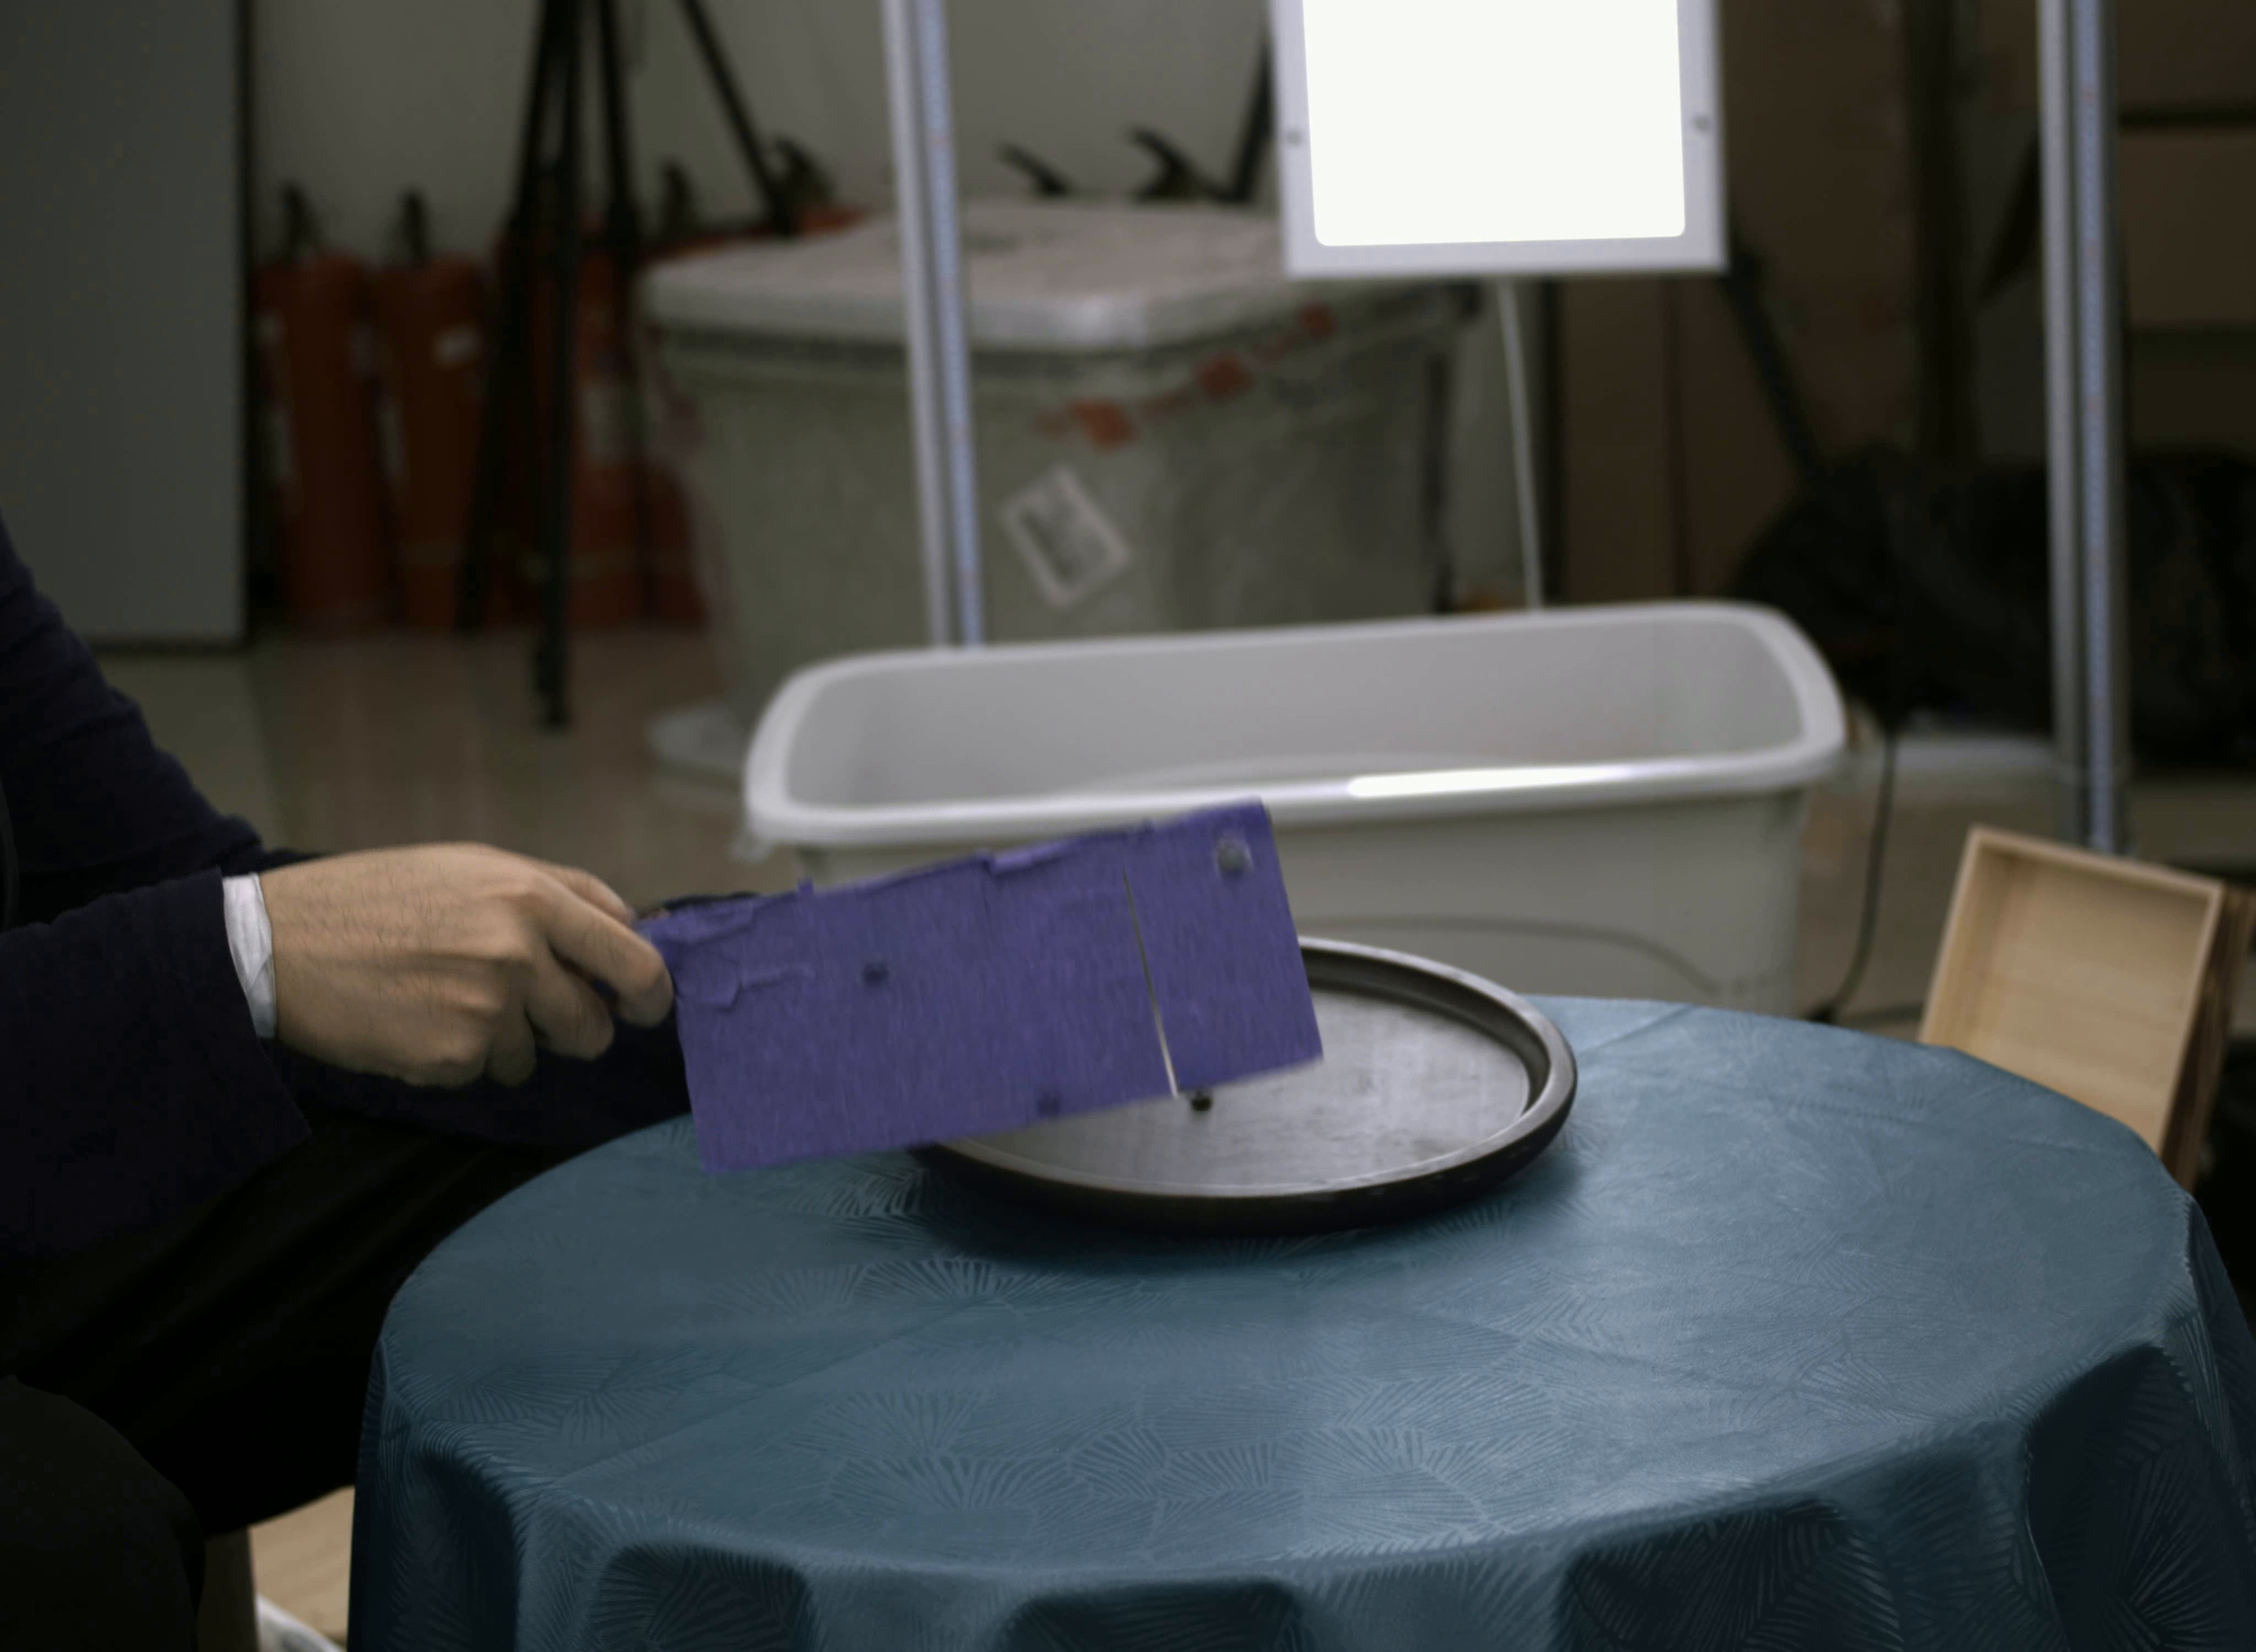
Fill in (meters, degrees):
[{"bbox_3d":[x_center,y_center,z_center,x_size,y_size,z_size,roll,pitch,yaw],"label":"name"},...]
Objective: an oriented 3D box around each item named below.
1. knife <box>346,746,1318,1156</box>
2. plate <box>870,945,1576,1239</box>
[{"bbox_3d":[-0.097,0.055,1.813,0.315,0.104,0.032,-13,-12,3],"label":"knife"},{"bbox_3d":[0.031,0.090,1.935,0.254,0.029,0.254,0,20,-1],"label":"plate"}]
